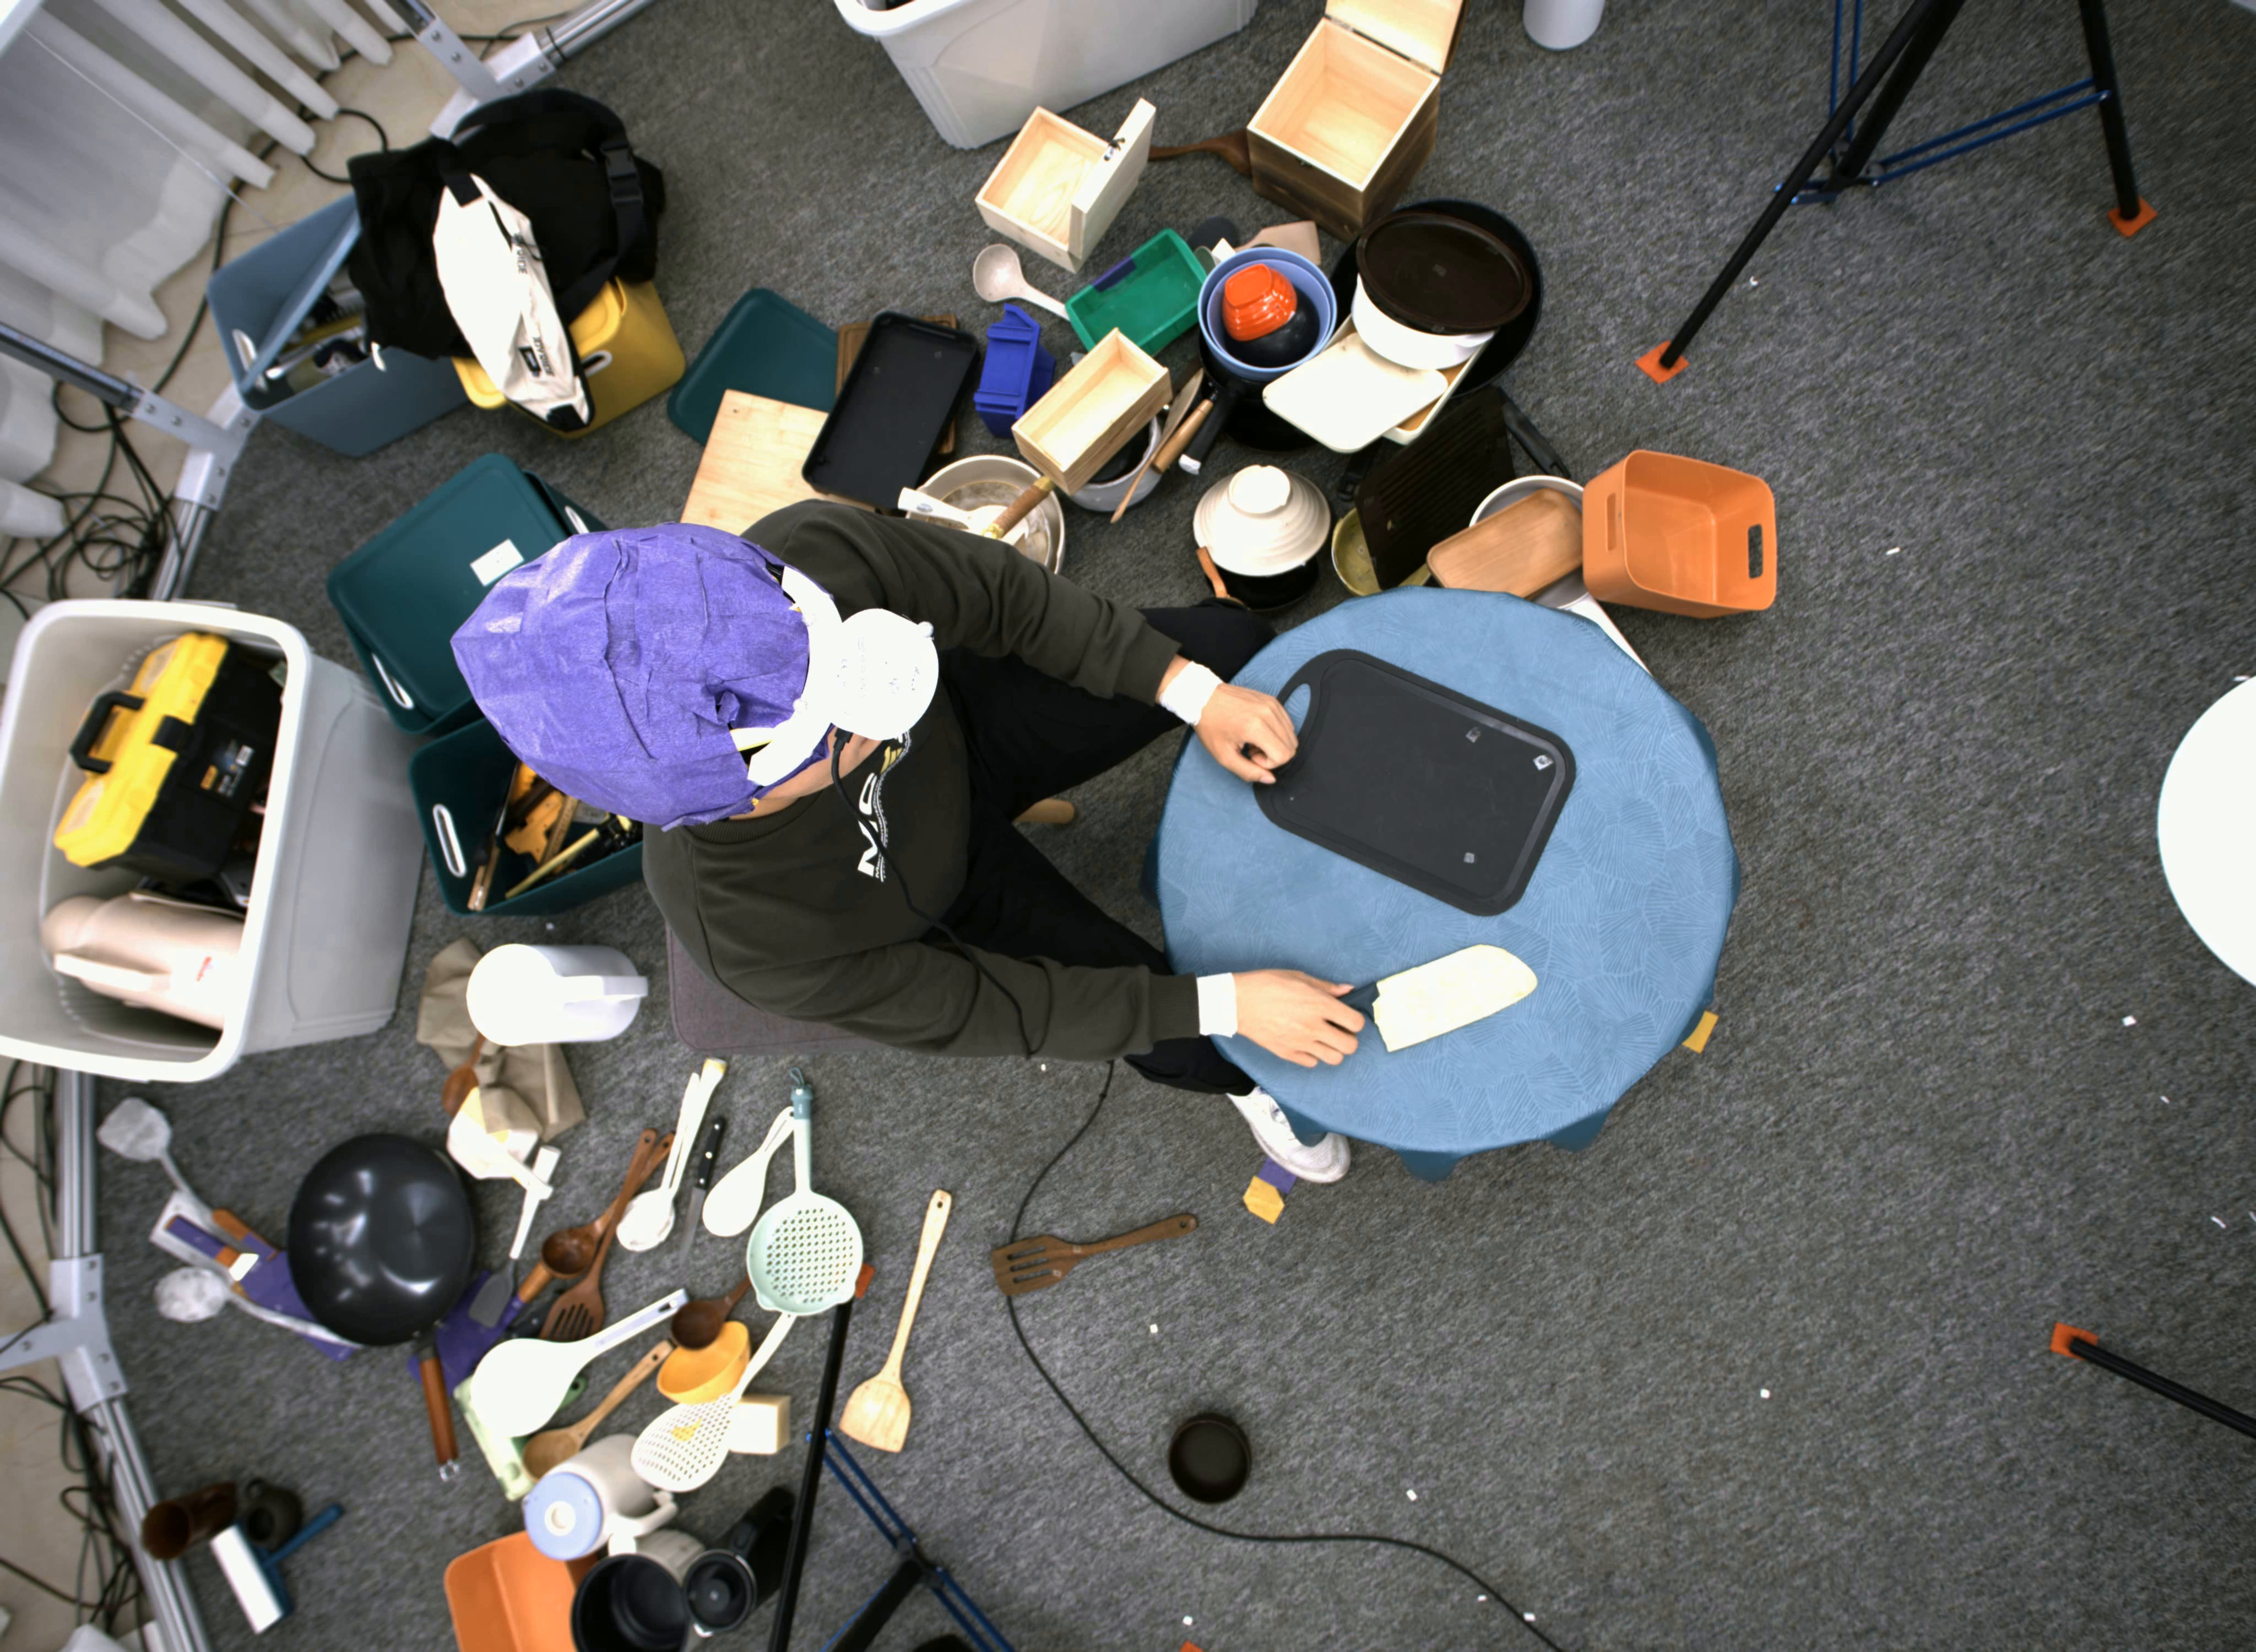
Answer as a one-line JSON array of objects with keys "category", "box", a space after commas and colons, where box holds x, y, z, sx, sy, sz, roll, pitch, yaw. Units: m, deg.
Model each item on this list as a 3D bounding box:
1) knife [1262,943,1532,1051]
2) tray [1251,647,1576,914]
[{"category": "knife", "box": [0.282, 0.190, 1.444, 0.291, 0.027, 0.080, -19, 83, 8]}, {"category": "tray", "box": [0.294, -0.055, 1.459, 0.325, 0.010, 0.211, 25, 92, 11]}]
